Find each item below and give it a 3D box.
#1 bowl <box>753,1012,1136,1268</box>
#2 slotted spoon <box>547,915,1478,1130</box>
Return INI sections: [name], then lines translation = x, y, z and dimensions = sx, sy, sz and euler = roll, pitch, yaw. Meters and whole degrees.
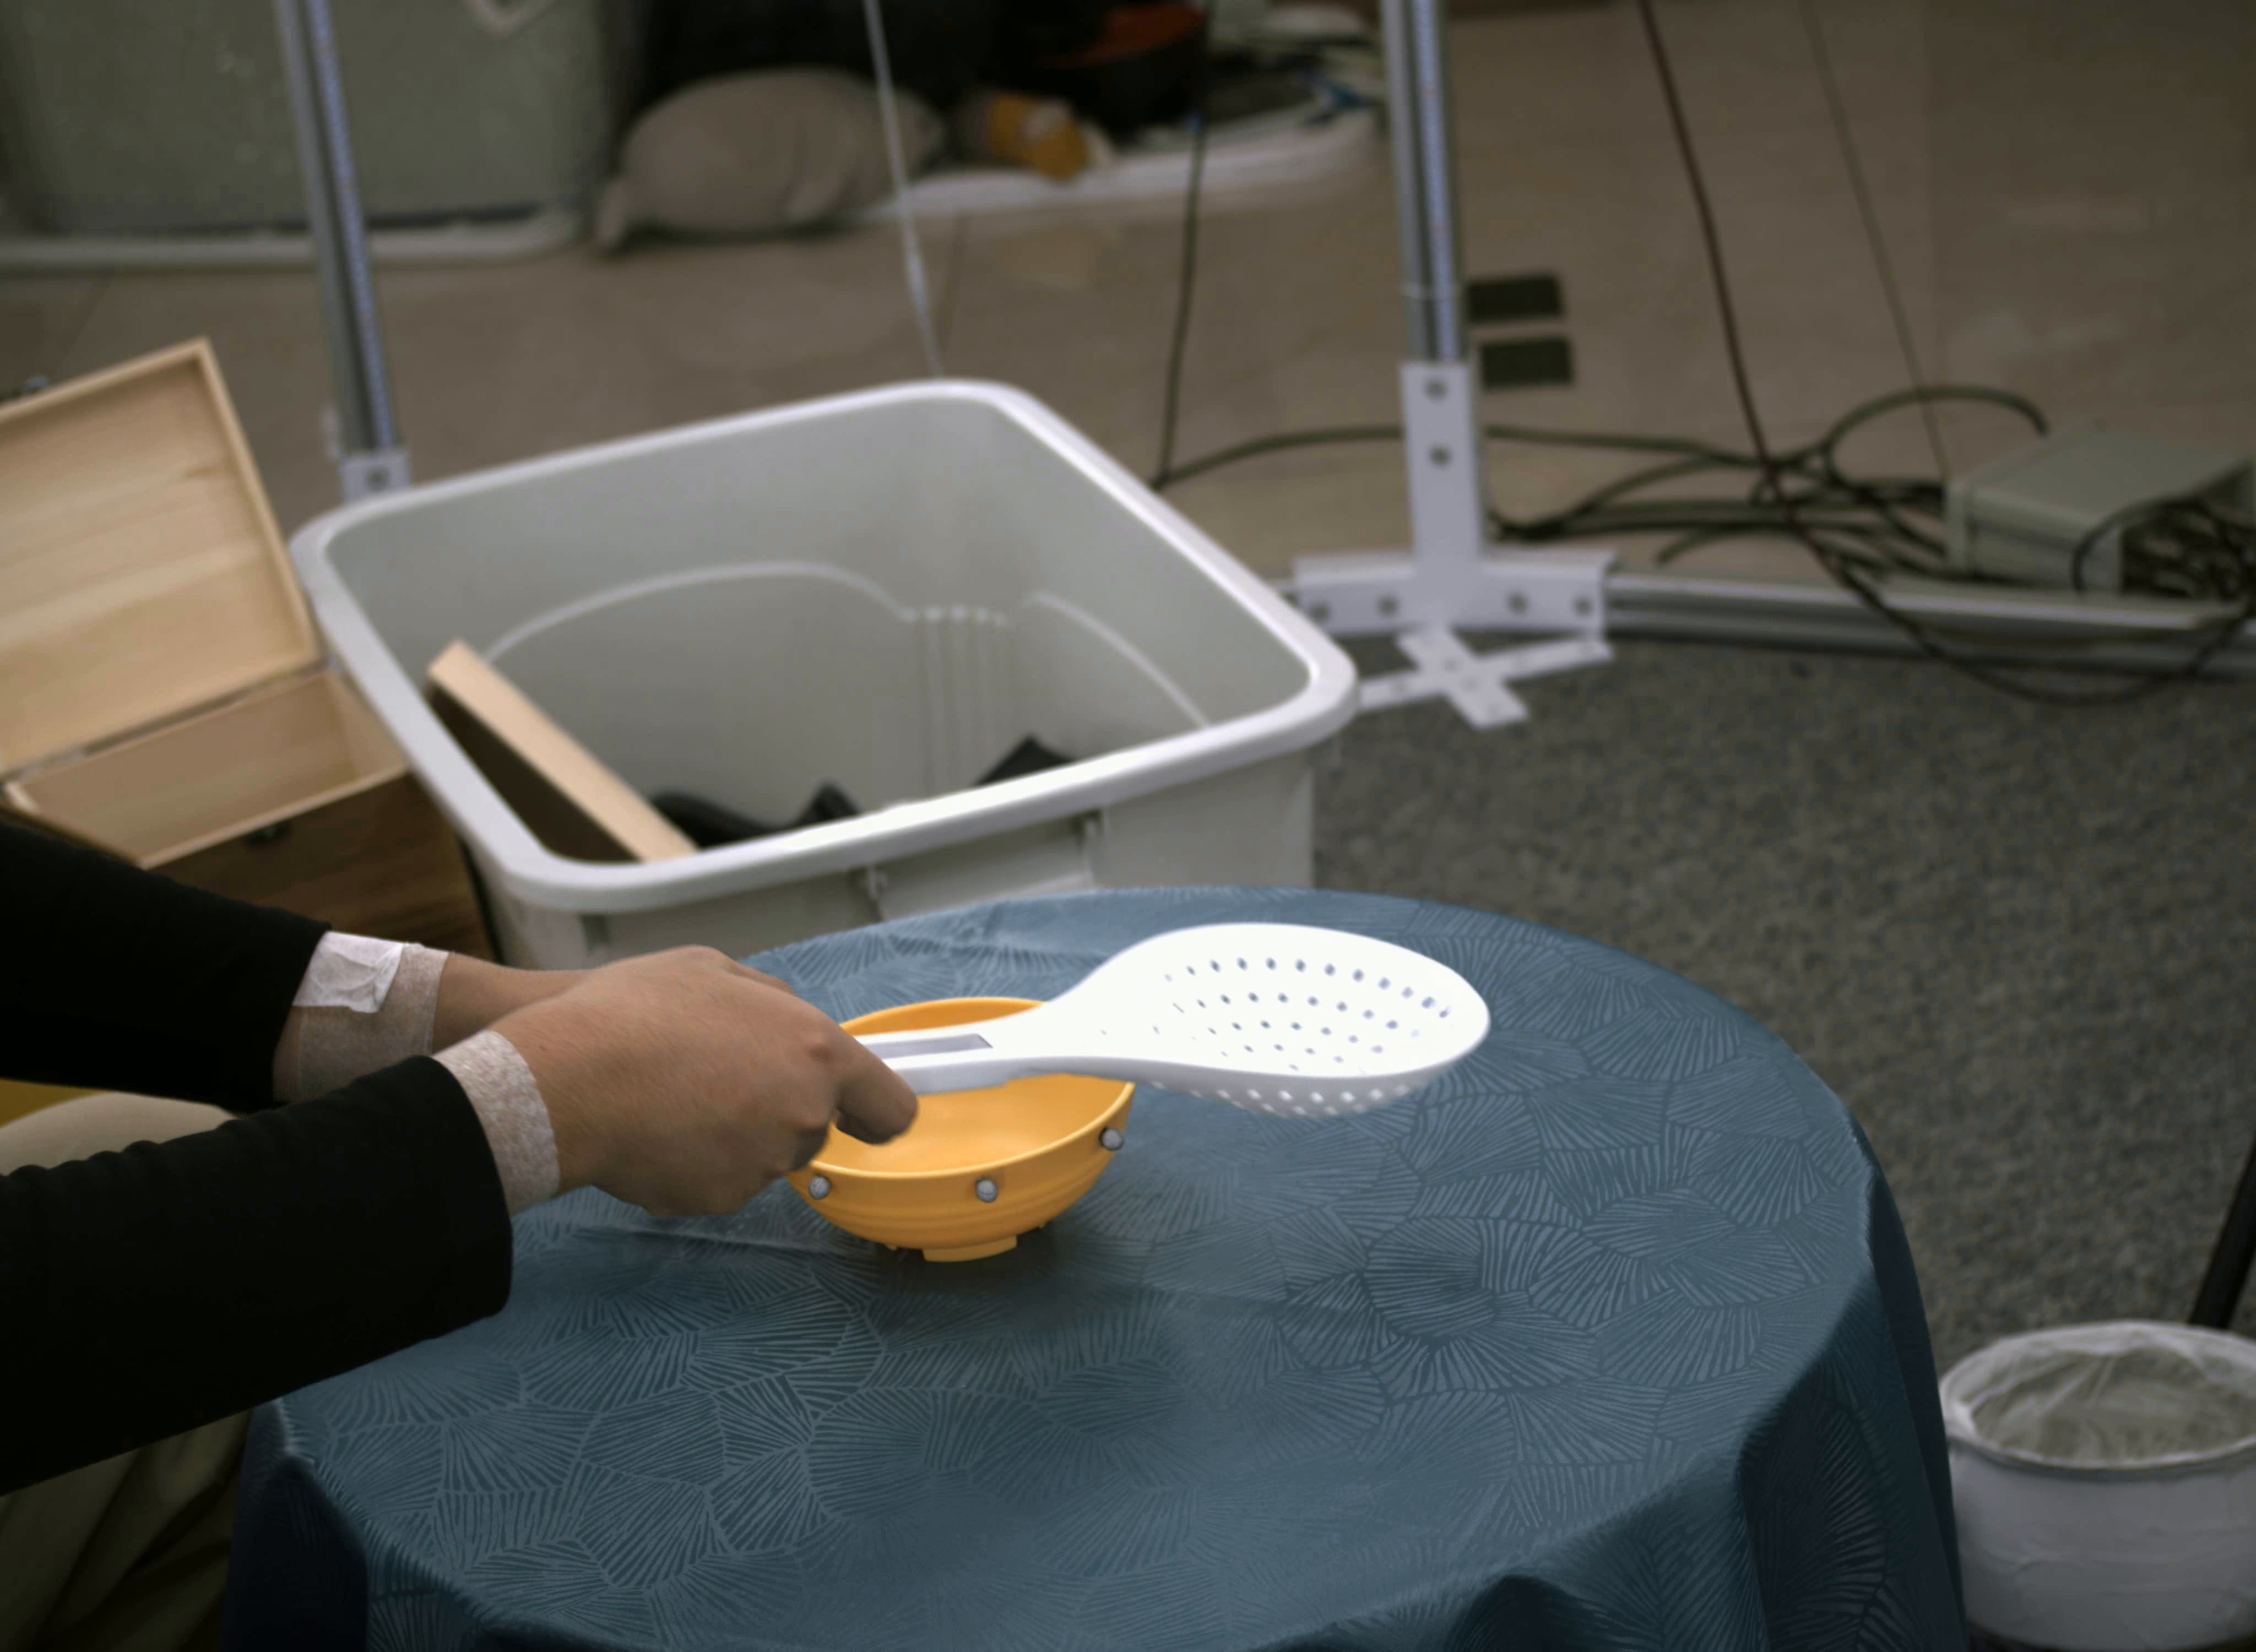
[bowl]
translation = -0.066, 0.125, 2.129
dimensions = 0.145, 0.061, 0.143
euler = -6, 23, 3
[slotted spoon]
translation = -0.037, 0.075, 1.976
dimensions = 0.349, 0.046, 0.134
euler = -1, 22, -30
